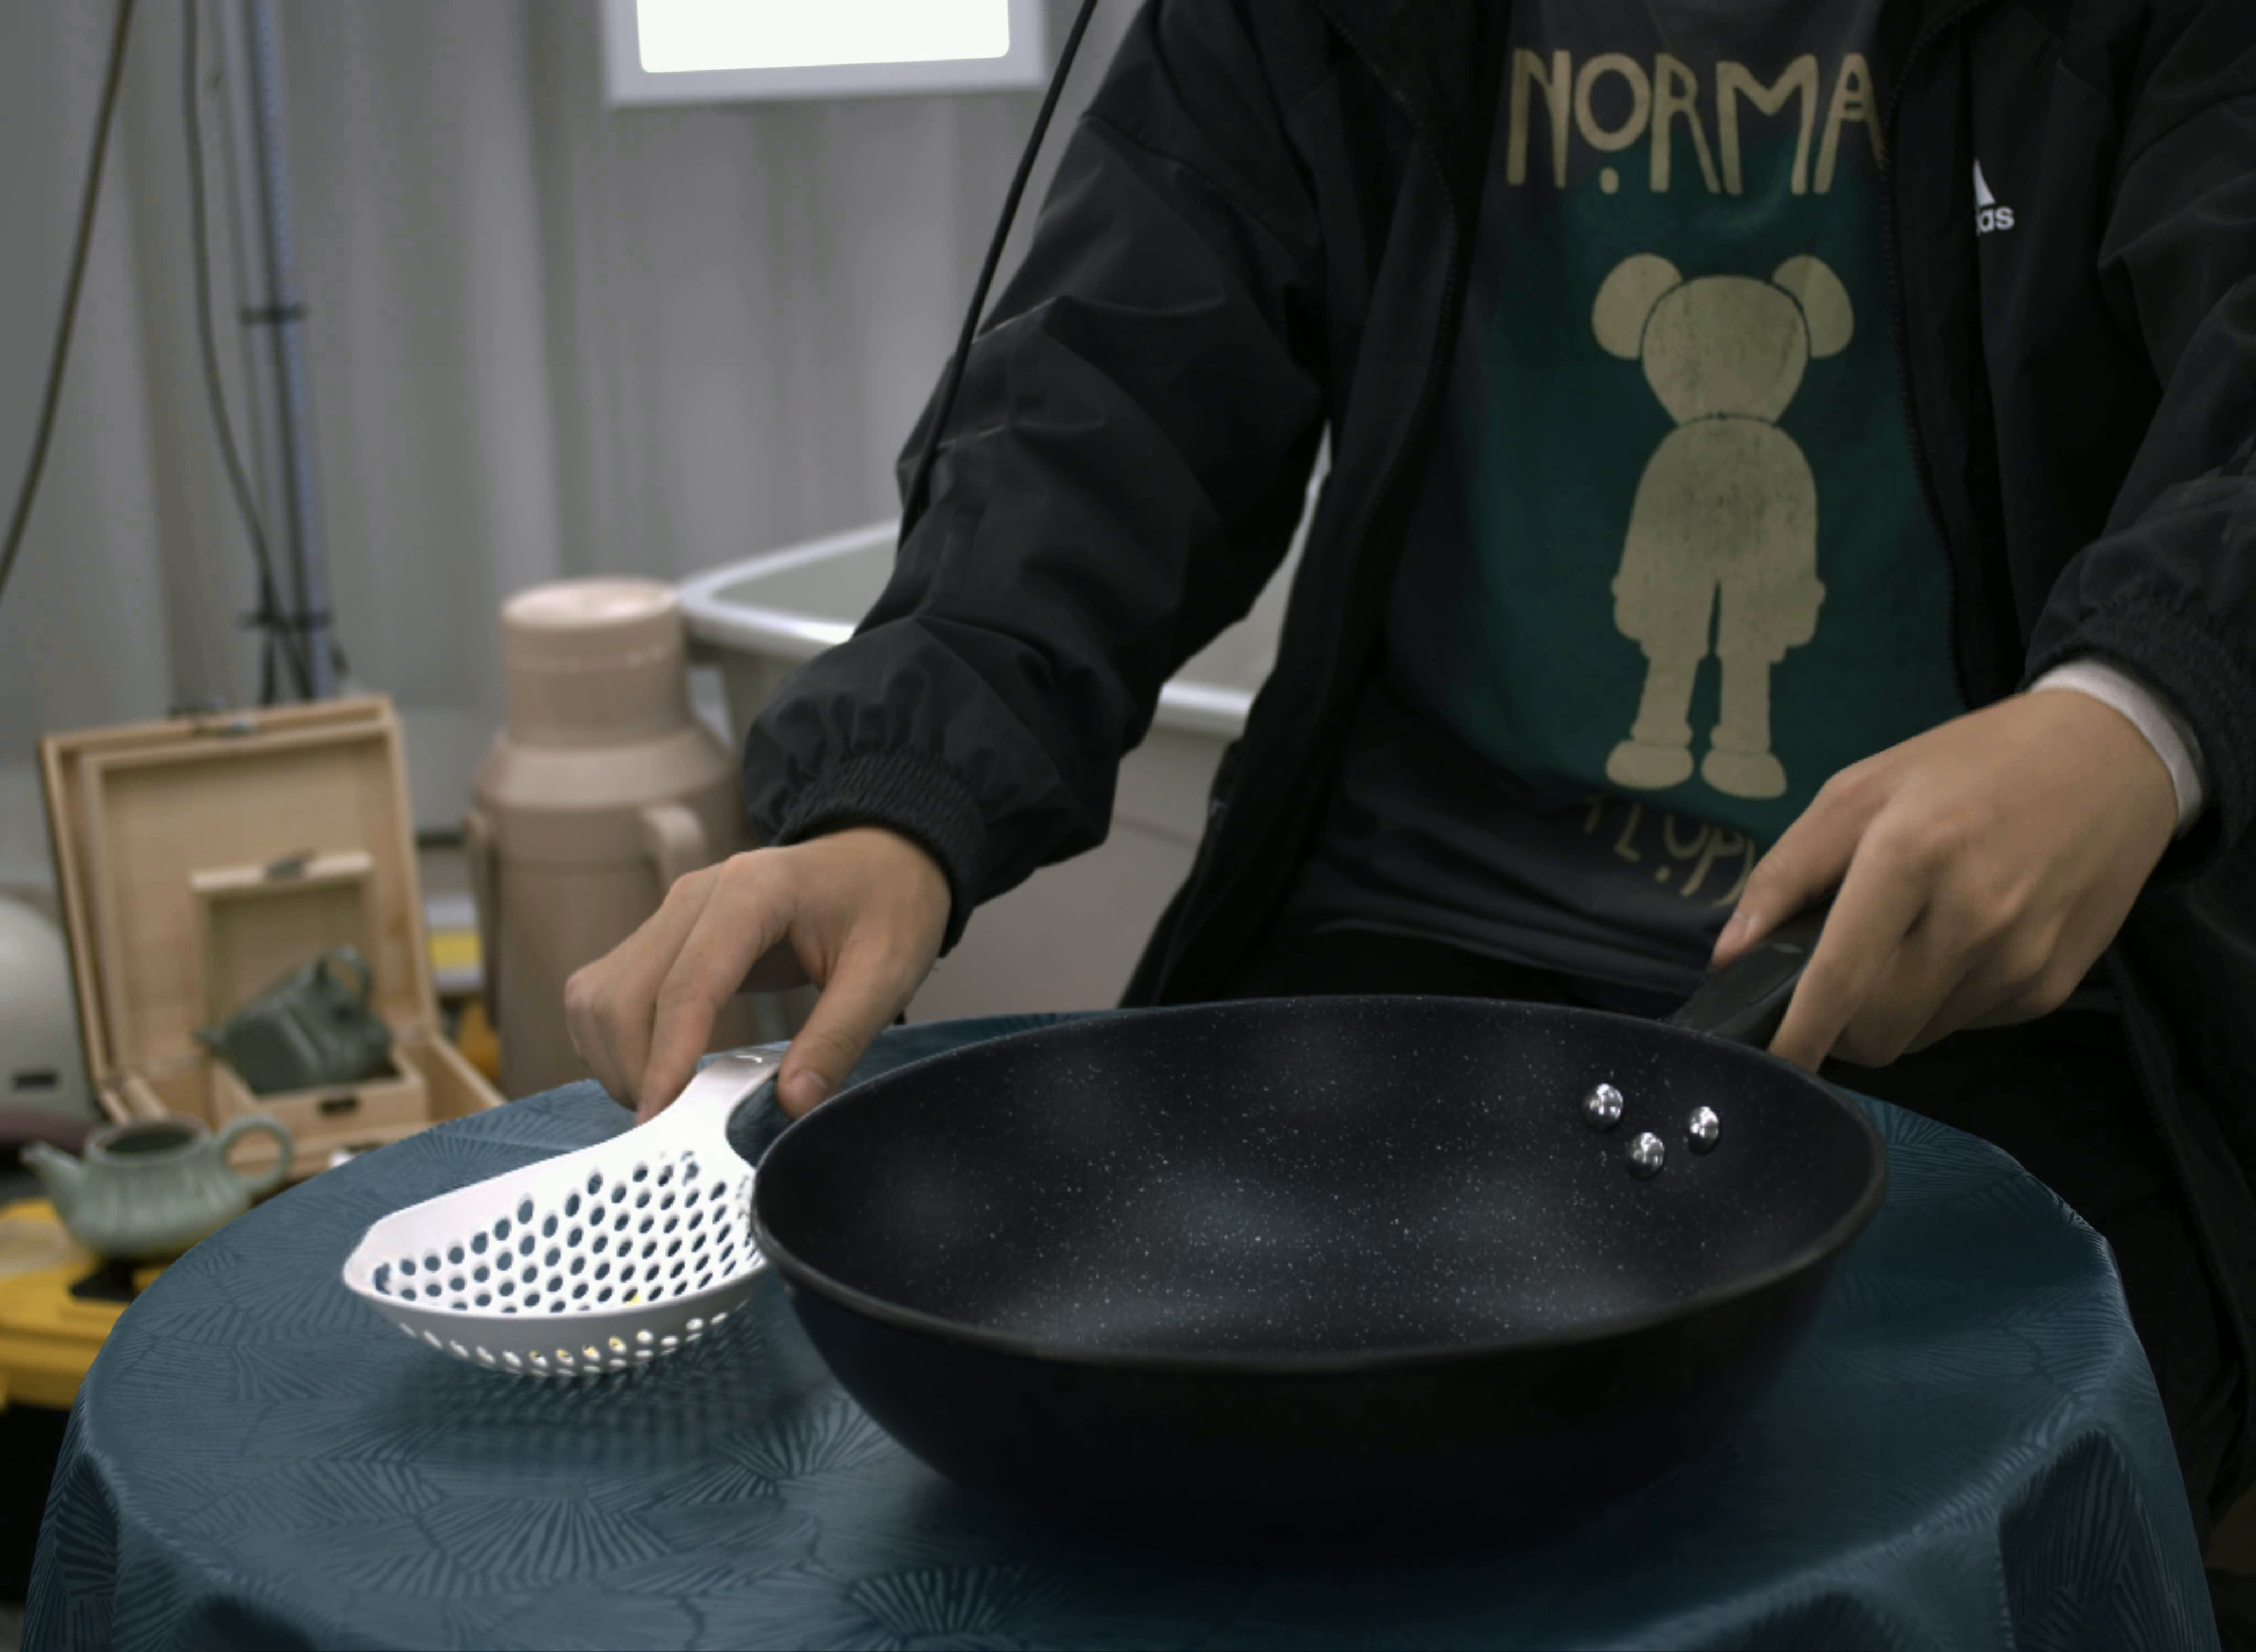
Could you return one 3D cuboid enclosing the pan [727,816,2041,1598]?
[{"bbox_3d":[0.106,0.104,1.529,0.312,0.111,0.476,13,23,43],"label":"pan"}]

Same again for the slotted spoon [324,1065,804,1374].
[{"bbox_3d":[-0.141,0.108,1.688,0.136,0.050,0.349,-1,15,11],"label":"slotted spoon"}]
